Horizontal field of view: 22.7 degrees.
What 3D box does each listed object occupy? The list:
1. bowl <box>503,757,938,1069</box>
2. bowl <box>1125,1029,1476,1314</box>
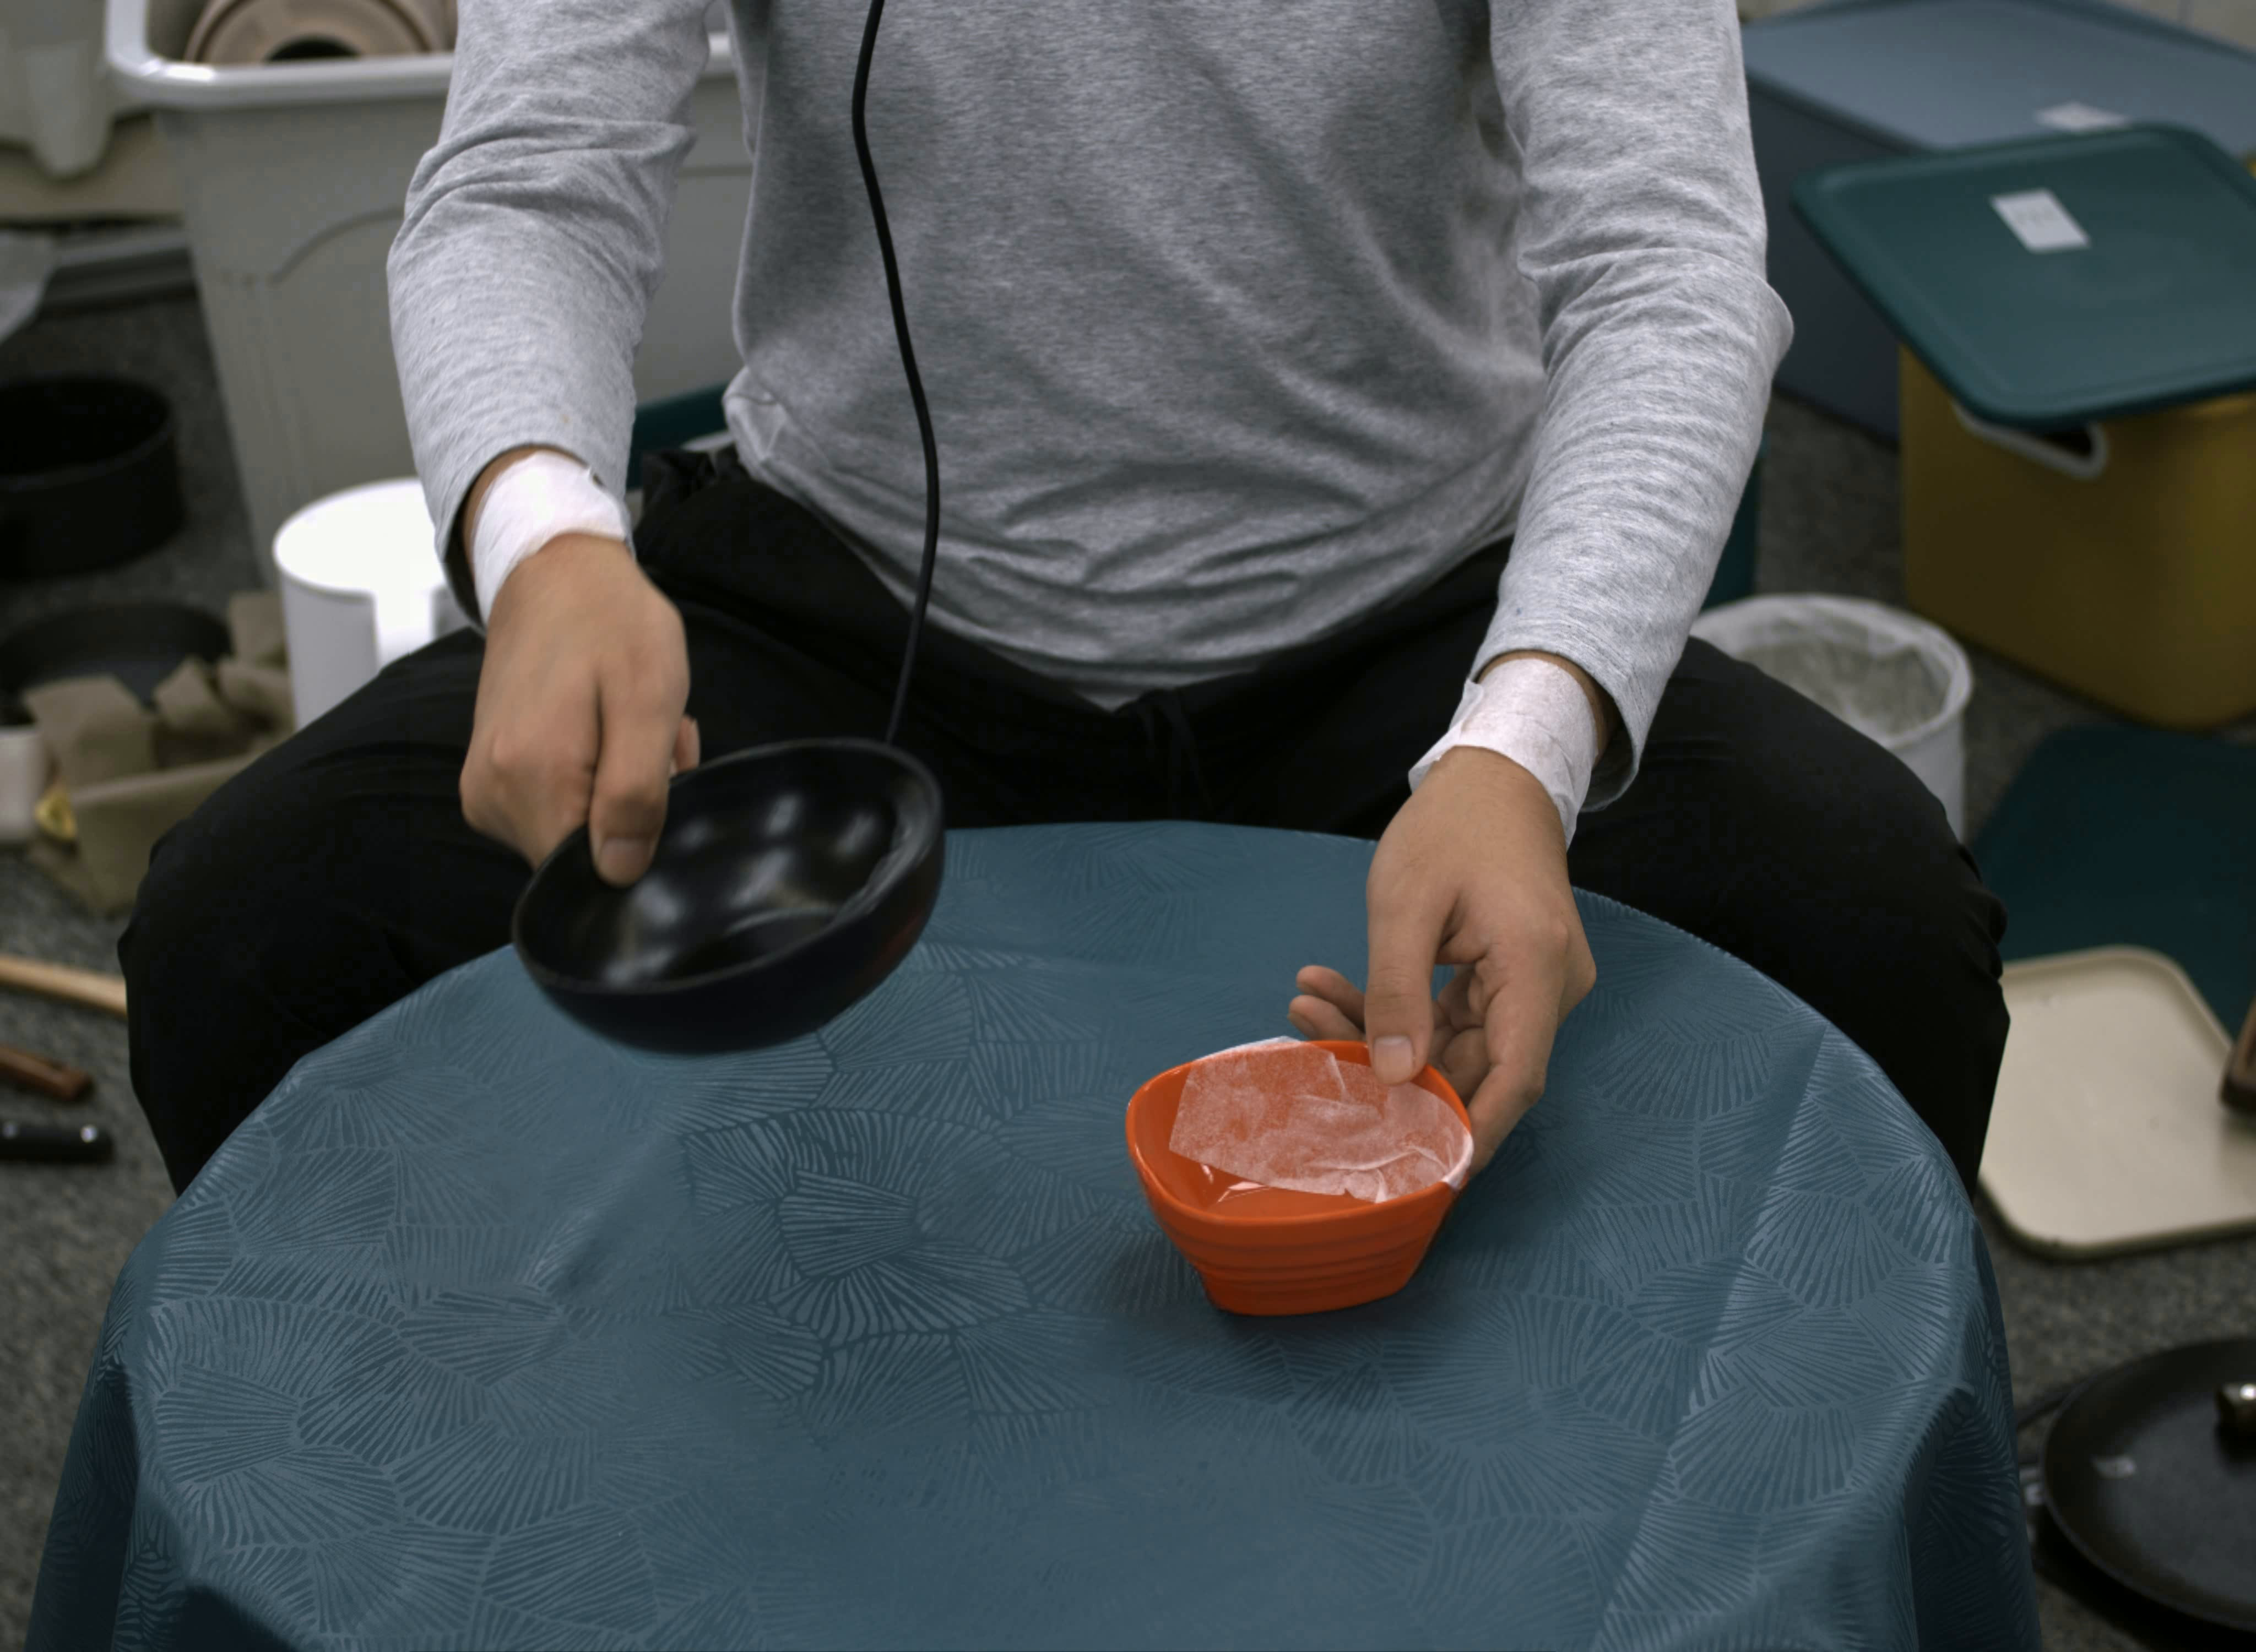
[{"bbox_3d":[-0.119,0.035,1.727,0.139,0.049,0.142,-15,25,7],"label":"bowl"},{"bbox_3d":[0.056,0.116,1.809,0.118,0.051,0.121,-3,30,2],"label":"bowl"}]
